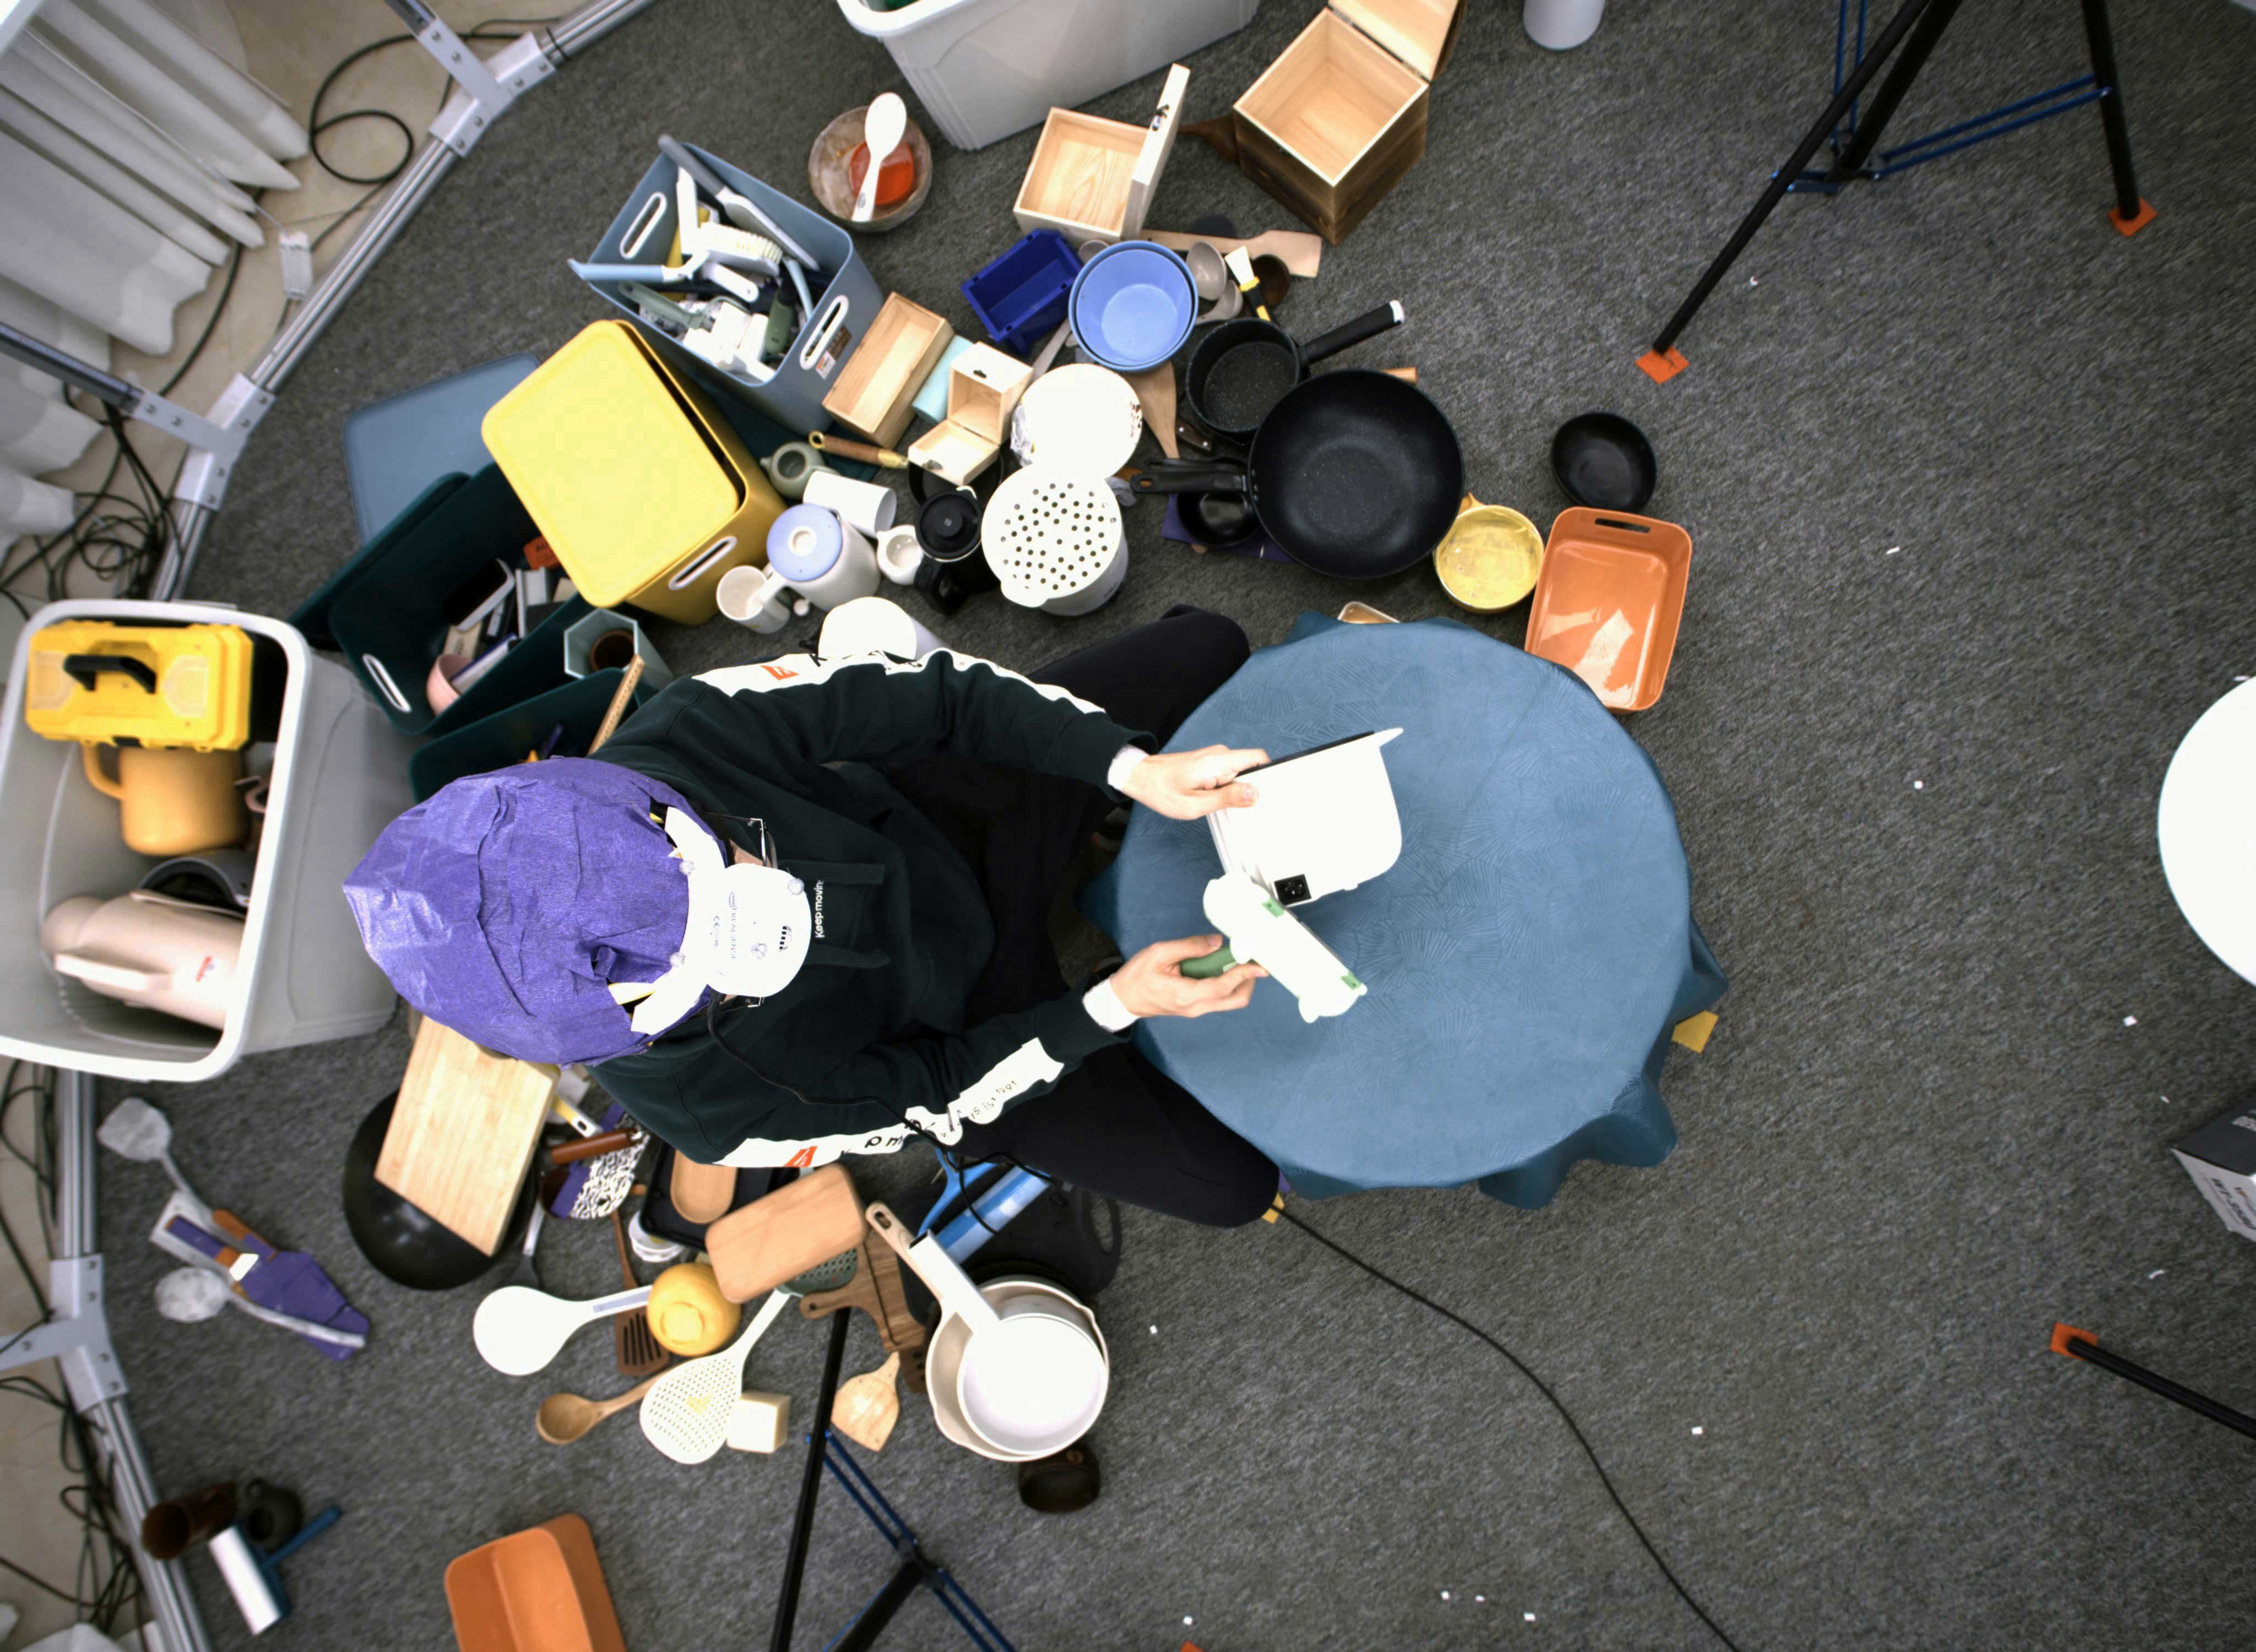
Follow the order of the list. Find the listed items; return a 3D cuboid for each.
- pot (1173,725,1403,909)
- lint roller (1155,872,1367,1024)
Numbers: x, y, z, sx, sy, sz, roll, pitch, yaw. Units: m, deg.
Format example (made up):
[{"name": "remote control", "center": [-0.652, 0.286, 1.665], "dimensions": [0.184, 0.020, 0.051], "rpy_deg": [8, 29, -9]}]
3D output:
[{"name": "pot", "center": [0.171, -0.005, 1.343], "dimensions": [0.243, 0.187, 0.143], "rpy_deg": [-15, 96, 26]}, {"name": "lint roller", "center": [0.101, 0.138, 1.312], "dimensions": [0.186, 0.201, 0.080], "rpy_deg": [-25, 42, 28]}]
